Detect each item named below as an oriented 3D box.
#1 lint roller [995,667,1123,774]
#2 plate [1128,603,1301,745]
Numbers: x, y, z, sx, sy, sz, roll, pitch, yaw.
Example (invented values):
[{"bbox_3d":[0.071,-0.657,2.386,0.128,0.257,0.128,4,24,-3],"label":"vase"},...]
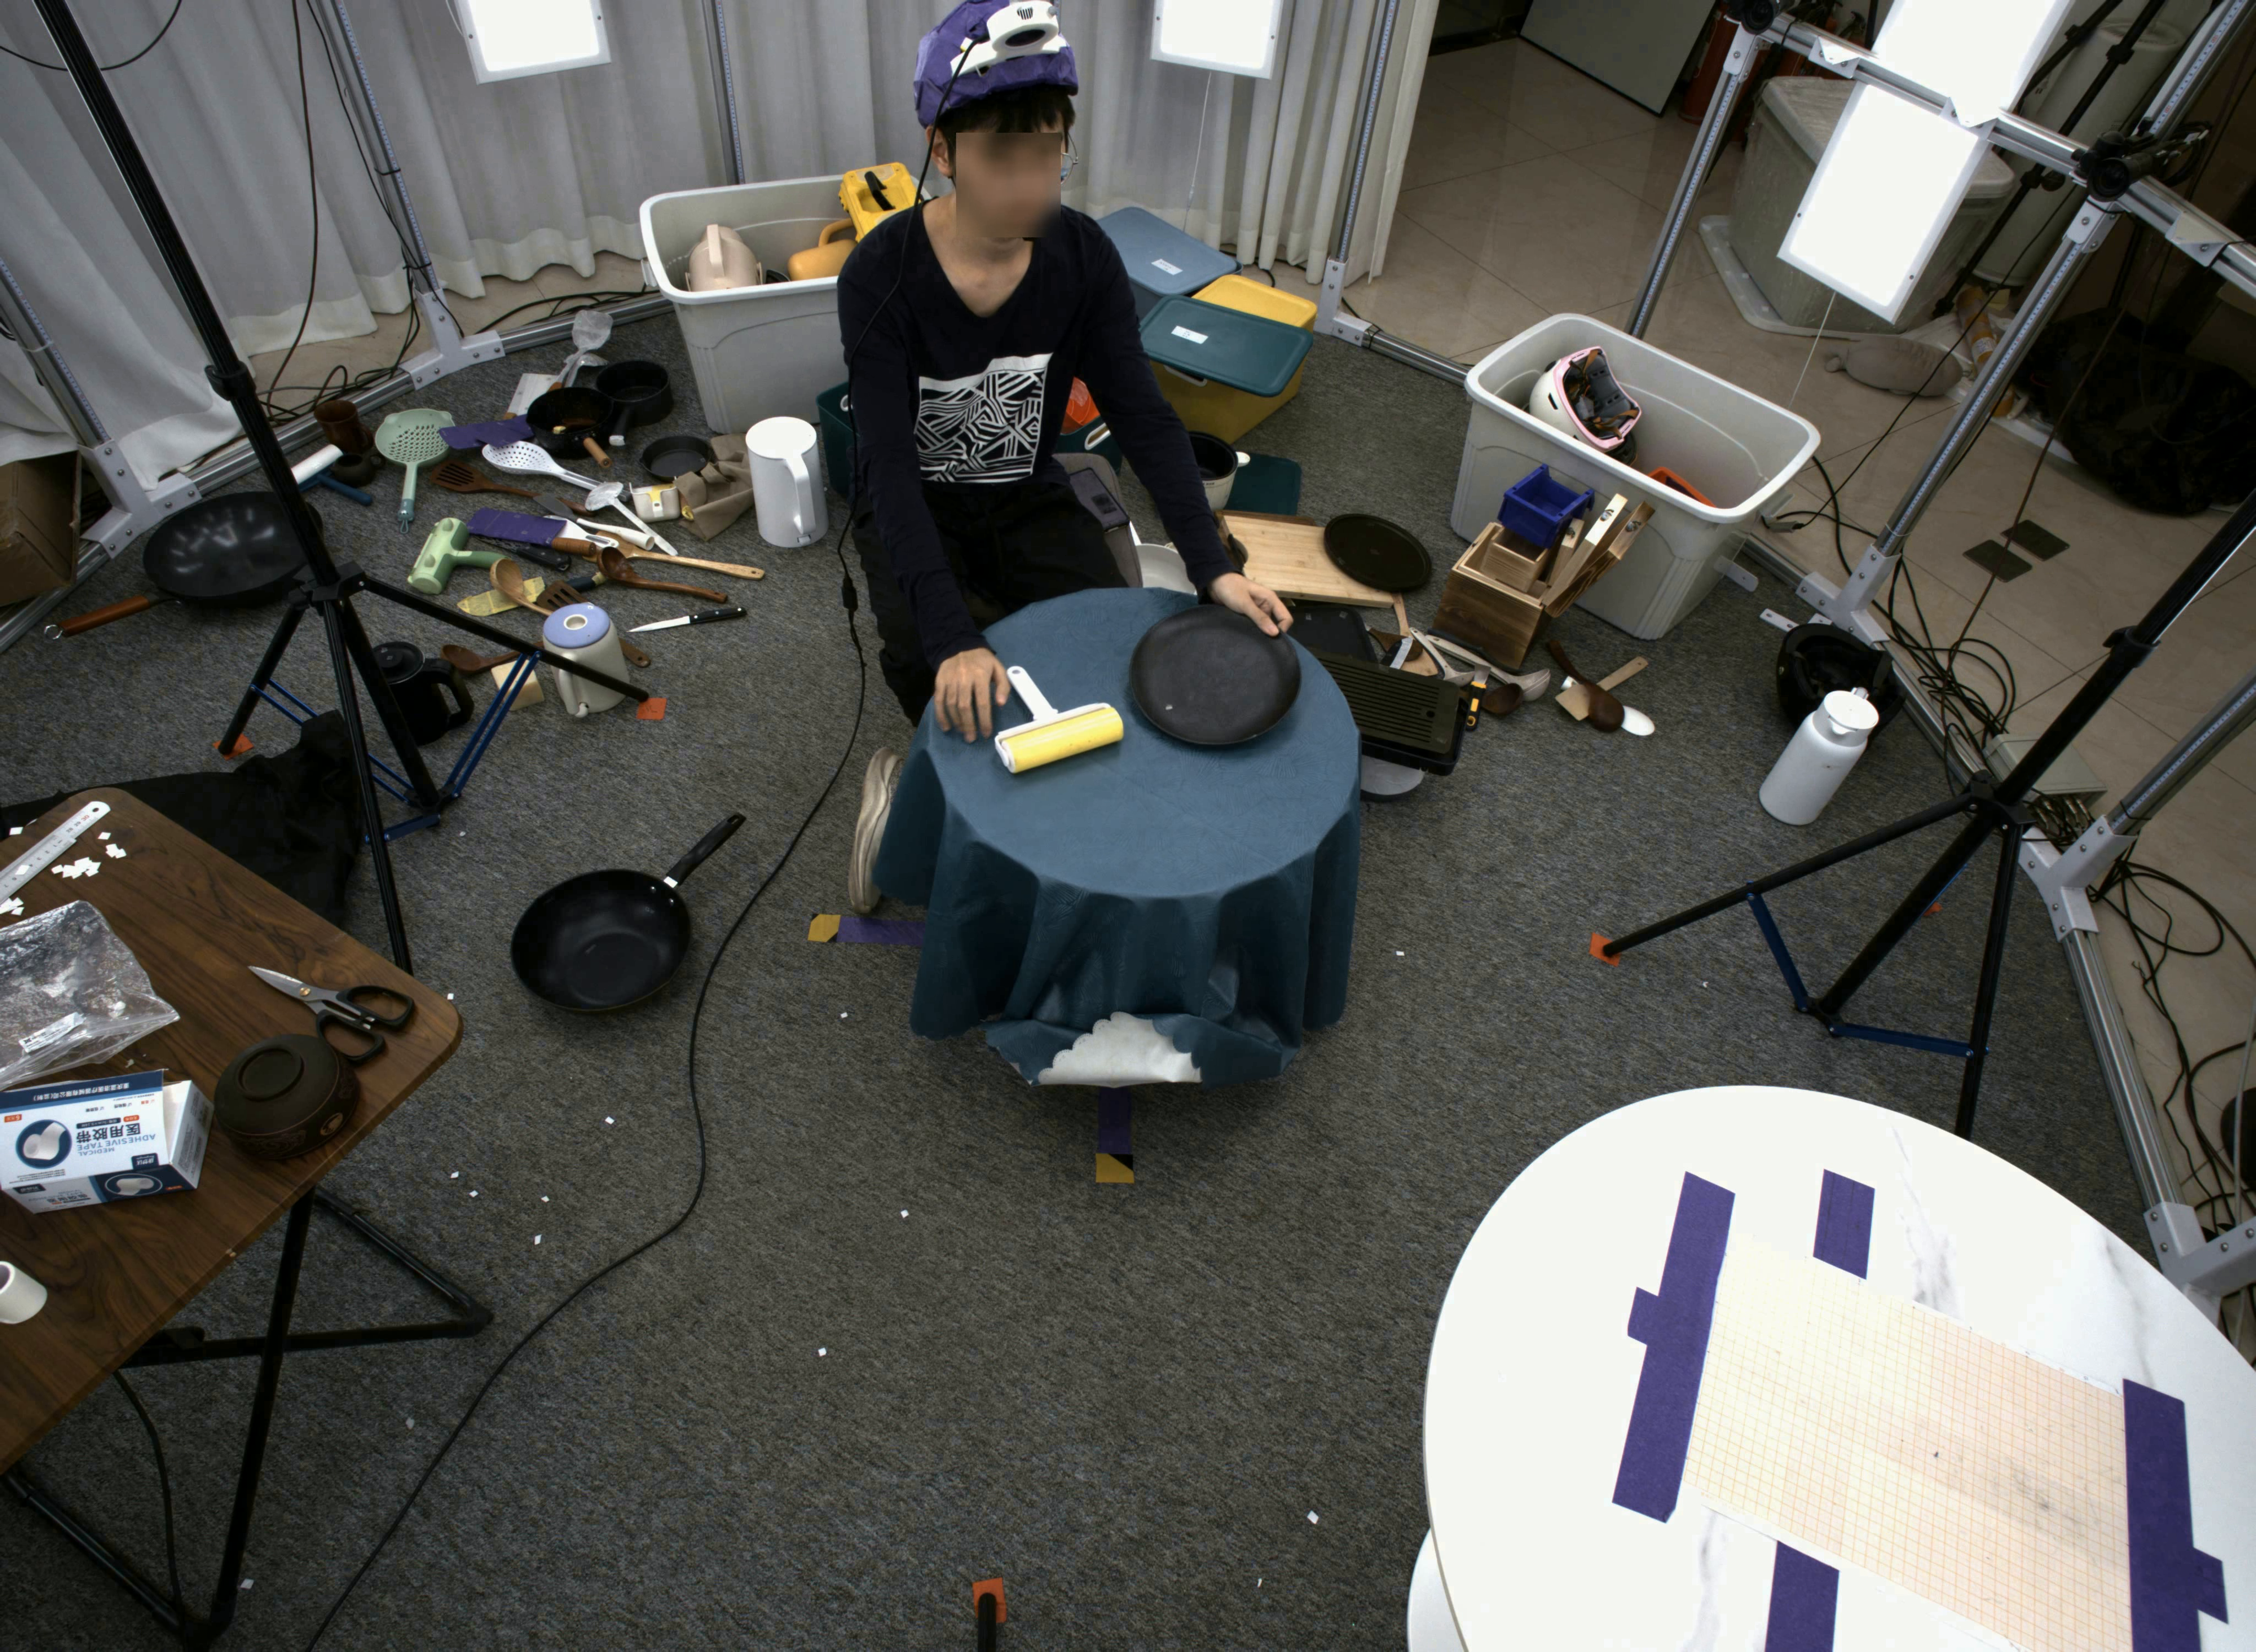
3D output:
[{"bbox_3d":[-0.122,-0.167,1.772,0.174,0.050,0.196,-19,56,-20],"label":"lint roller"},{"bbox_3d":[0.122,-0.215,1.822,0.244,0.023,0.250,-2,60,3],"label":"plate"}]
